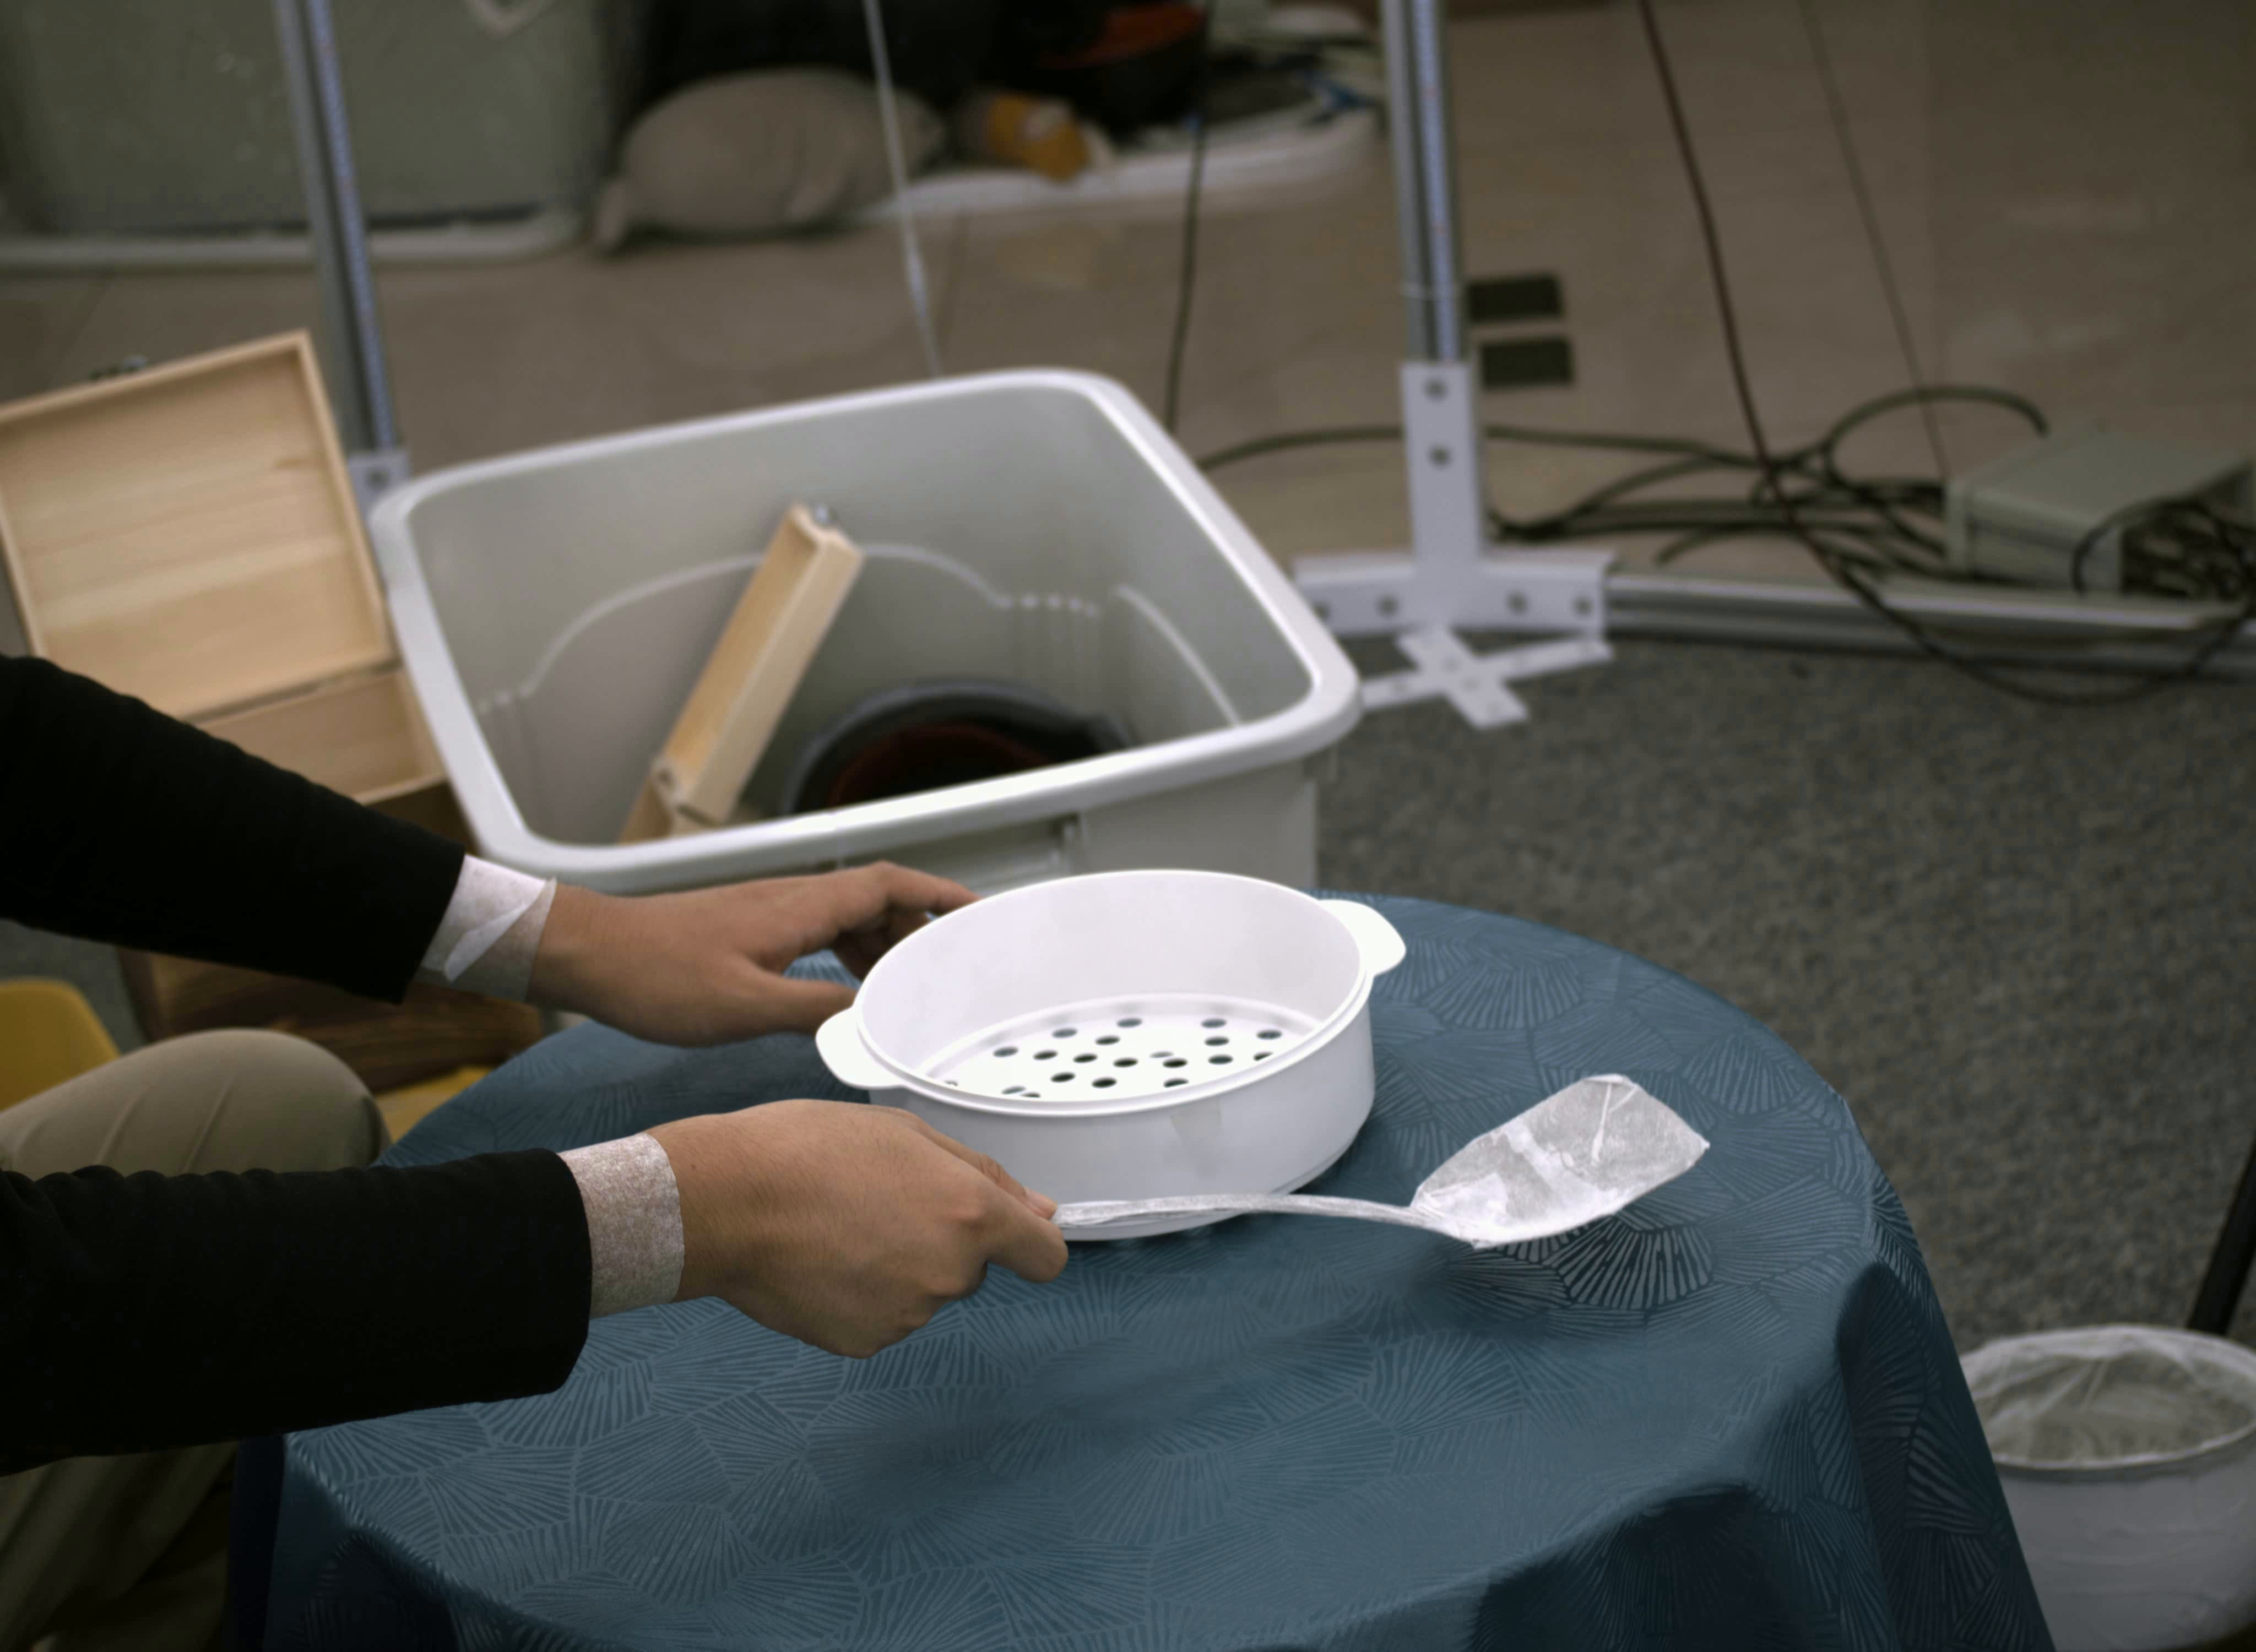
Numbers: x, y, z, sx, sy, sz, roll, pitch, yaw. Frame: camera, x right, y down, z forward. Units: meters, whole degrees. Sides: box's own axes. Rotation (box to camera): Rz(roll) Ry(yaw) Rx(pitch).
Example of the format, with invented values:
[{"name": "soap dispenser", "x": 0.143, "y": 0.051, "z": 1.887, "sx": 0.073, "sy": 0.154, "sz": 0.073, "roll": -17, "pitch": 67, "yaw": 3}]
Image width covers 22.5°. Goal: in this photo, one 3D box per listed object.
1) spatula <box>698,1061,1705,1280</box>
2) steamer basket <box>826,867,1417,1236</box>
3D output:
[{"name": "spatula", "x": 0.027, "y": 0.129, "z": 2.013, "sx": 0.364, "sy": 0.045, "sz": 0.097, "roll": -3, "pitch": 21, "yaw": -17}, {"name": "steamer basket", "x": 0.002, "y": 0.087, "z": 2.175, "sx": 0.230, "sy": 0.070, "sz": 0.199, "roll": -13, "pitch": 25, "yaw": -12}]
